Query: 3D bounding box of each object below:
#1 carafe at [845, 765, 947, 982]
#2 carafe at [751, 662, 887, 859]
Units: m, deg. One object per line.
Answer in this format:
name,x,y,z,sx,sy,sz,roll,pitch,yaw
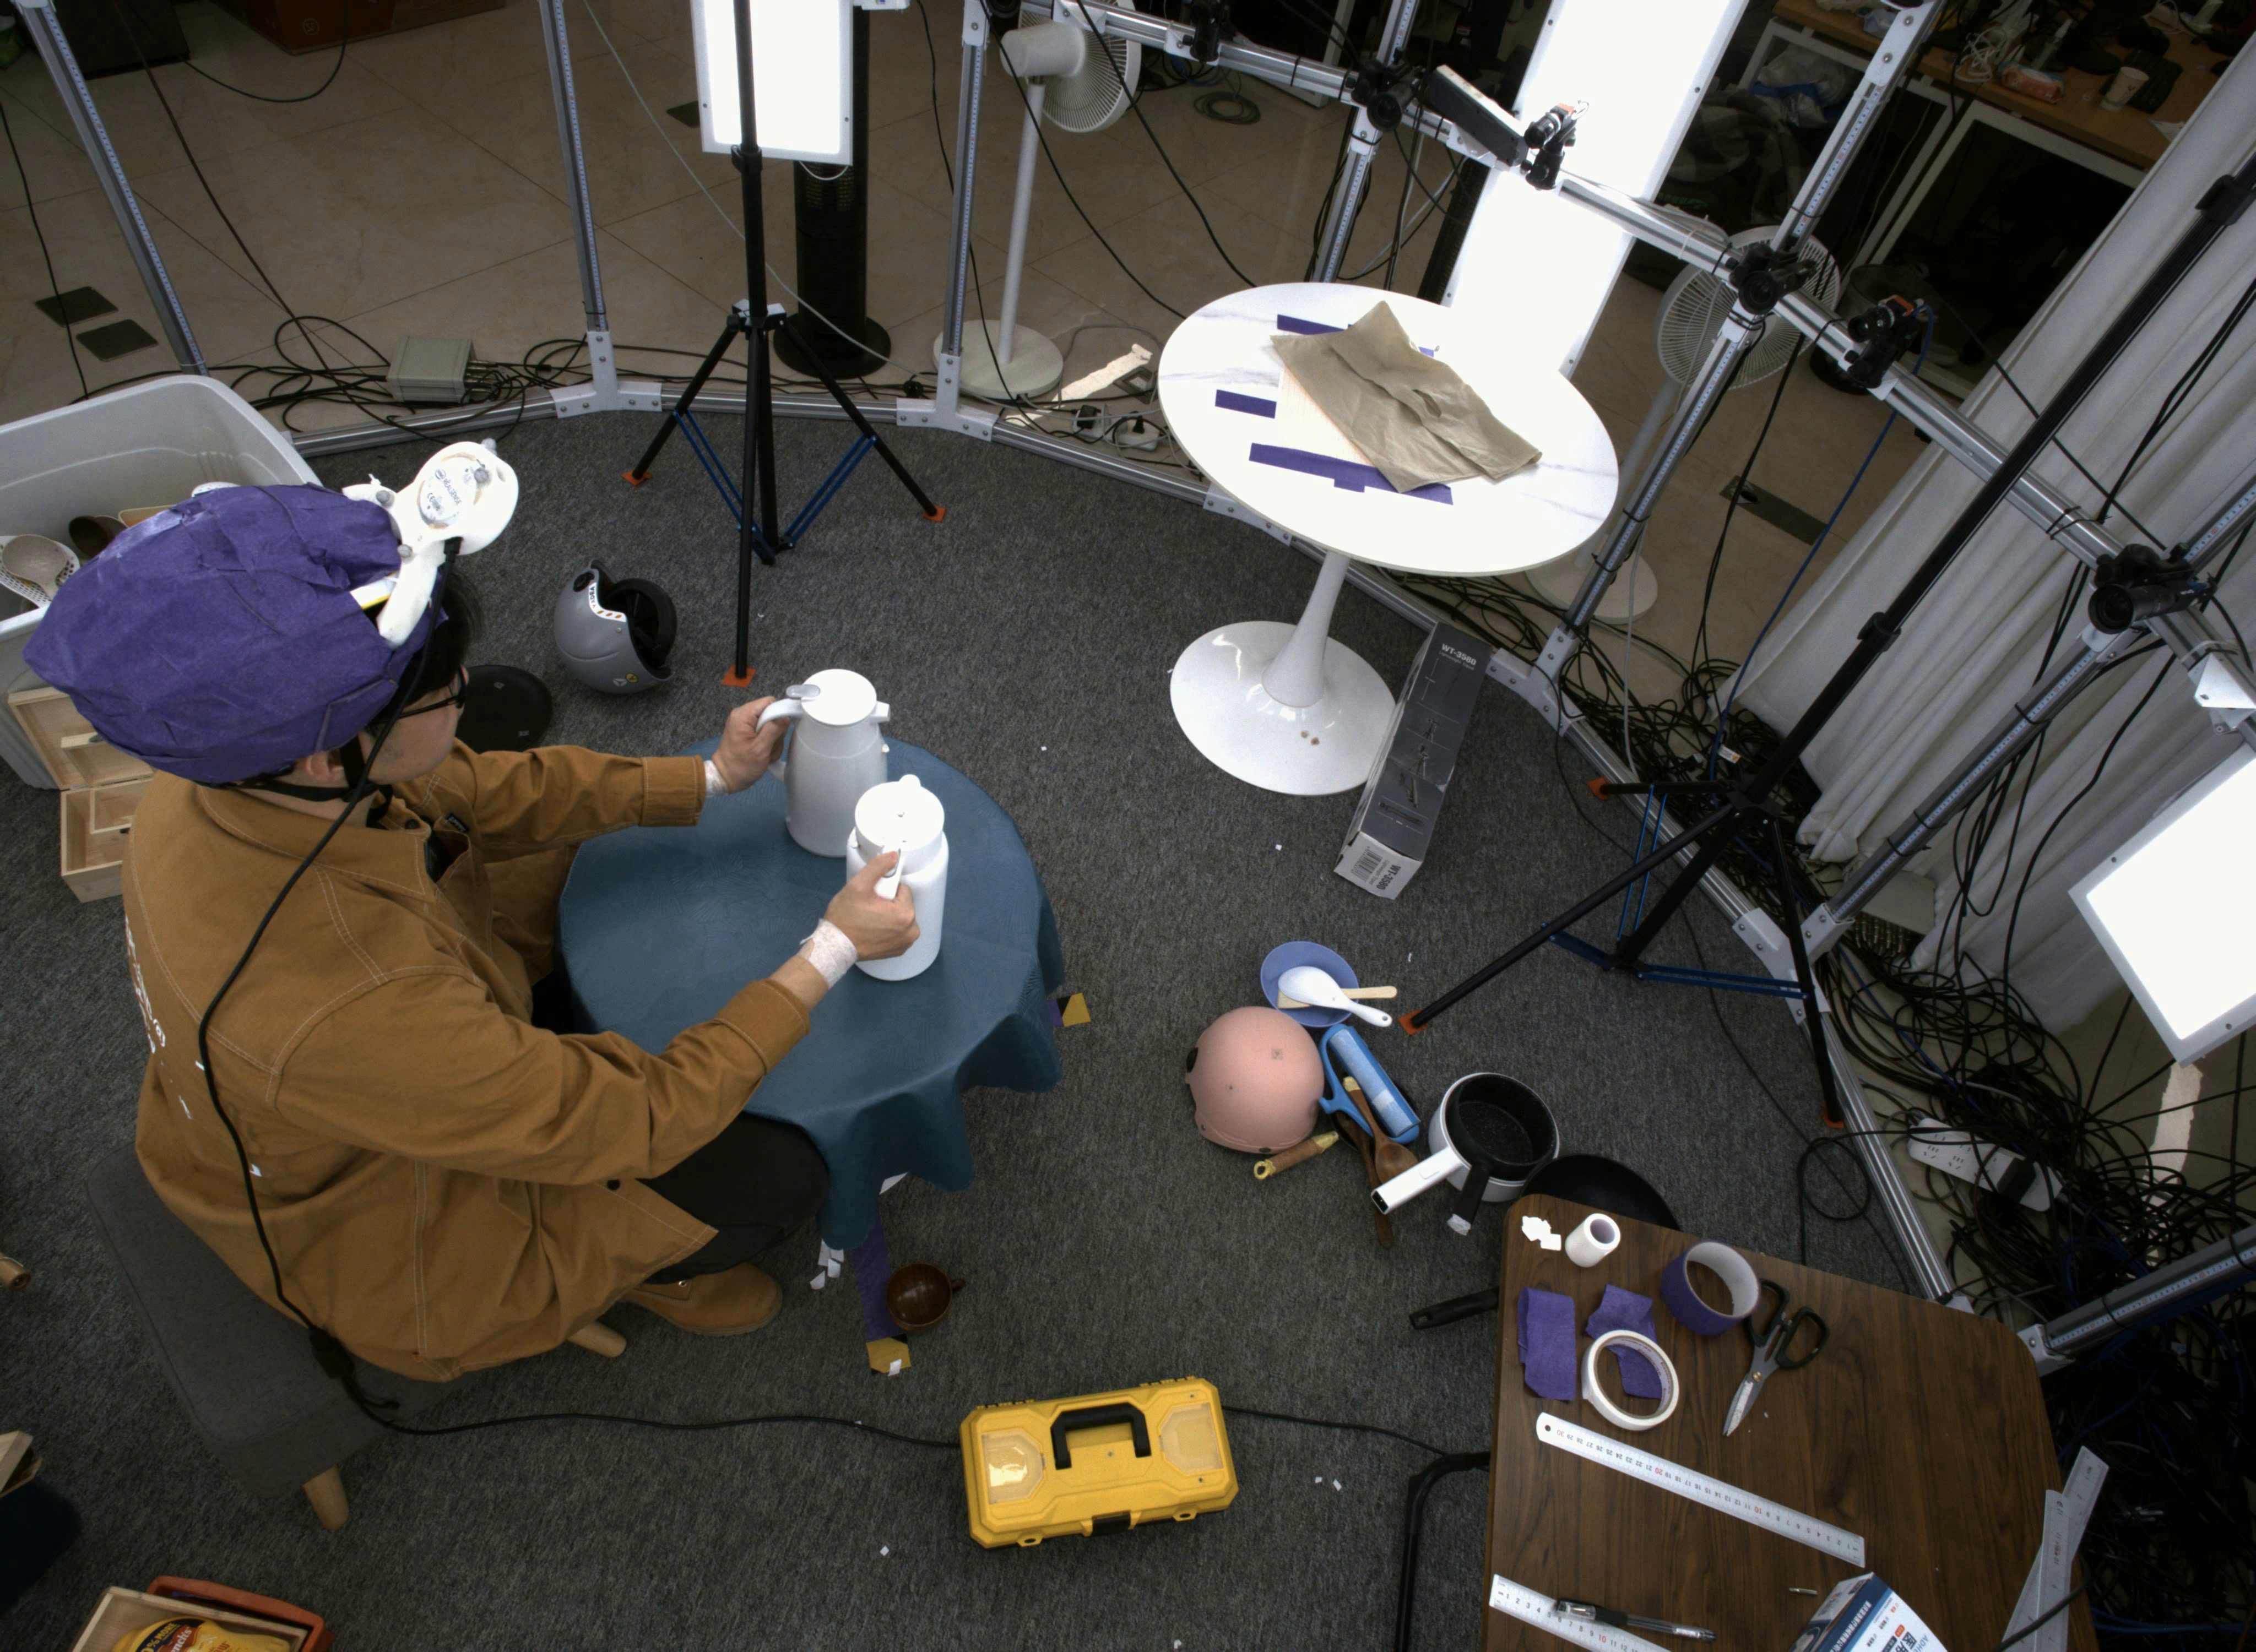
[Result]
carafe,-0.276,0.078,1.529,0.123,0.274,0.170,10,51,-6
carafe,-0.389,-0.089,1.635,0.167,0.254,0.130,3,51,-9
